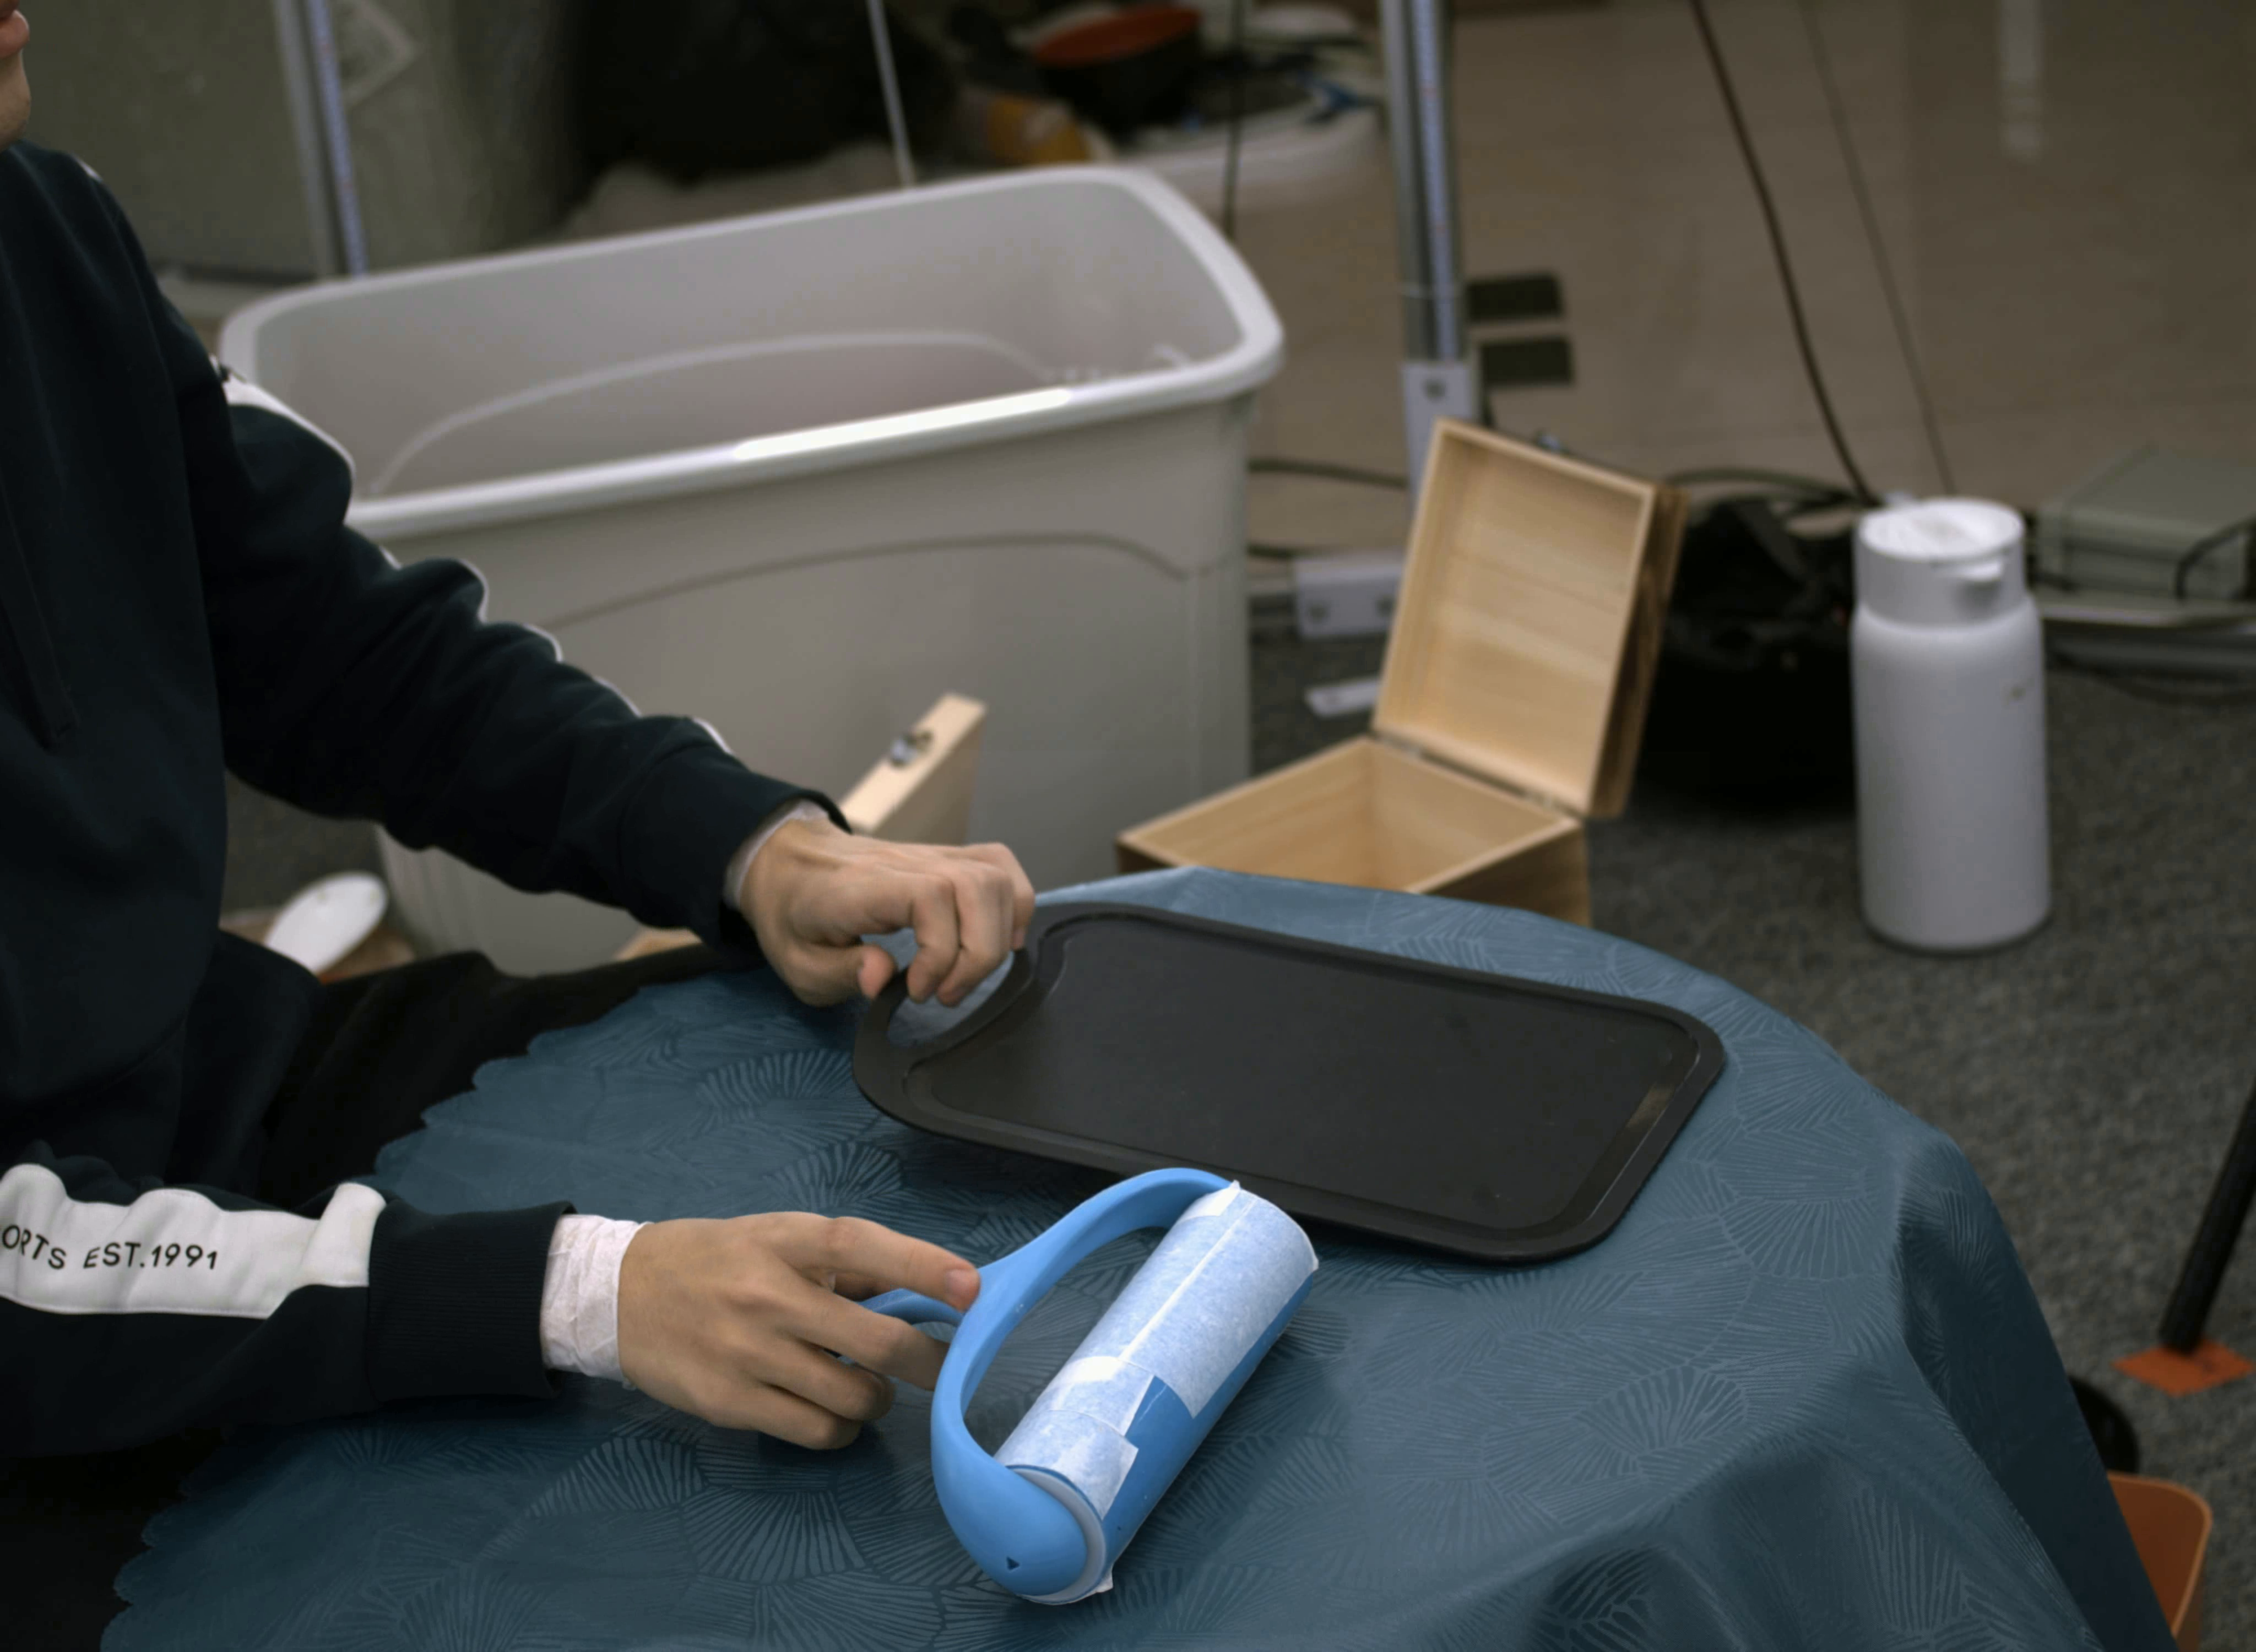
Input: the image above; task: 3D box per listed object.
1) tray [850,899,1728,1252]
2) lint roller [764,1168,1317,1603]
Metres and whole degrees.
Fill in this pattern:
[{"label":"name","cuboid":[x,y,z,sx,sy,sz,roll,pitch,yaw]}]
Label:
[{"label":"tray","cuboid":[0.056,0.091,2.186,0.324,0.010,0.208,11,29,21]},{"label":"lint roller","cuboid":[-0.049,0.189,1.981,0.180,0.069,0.225,5,29,20]}]
